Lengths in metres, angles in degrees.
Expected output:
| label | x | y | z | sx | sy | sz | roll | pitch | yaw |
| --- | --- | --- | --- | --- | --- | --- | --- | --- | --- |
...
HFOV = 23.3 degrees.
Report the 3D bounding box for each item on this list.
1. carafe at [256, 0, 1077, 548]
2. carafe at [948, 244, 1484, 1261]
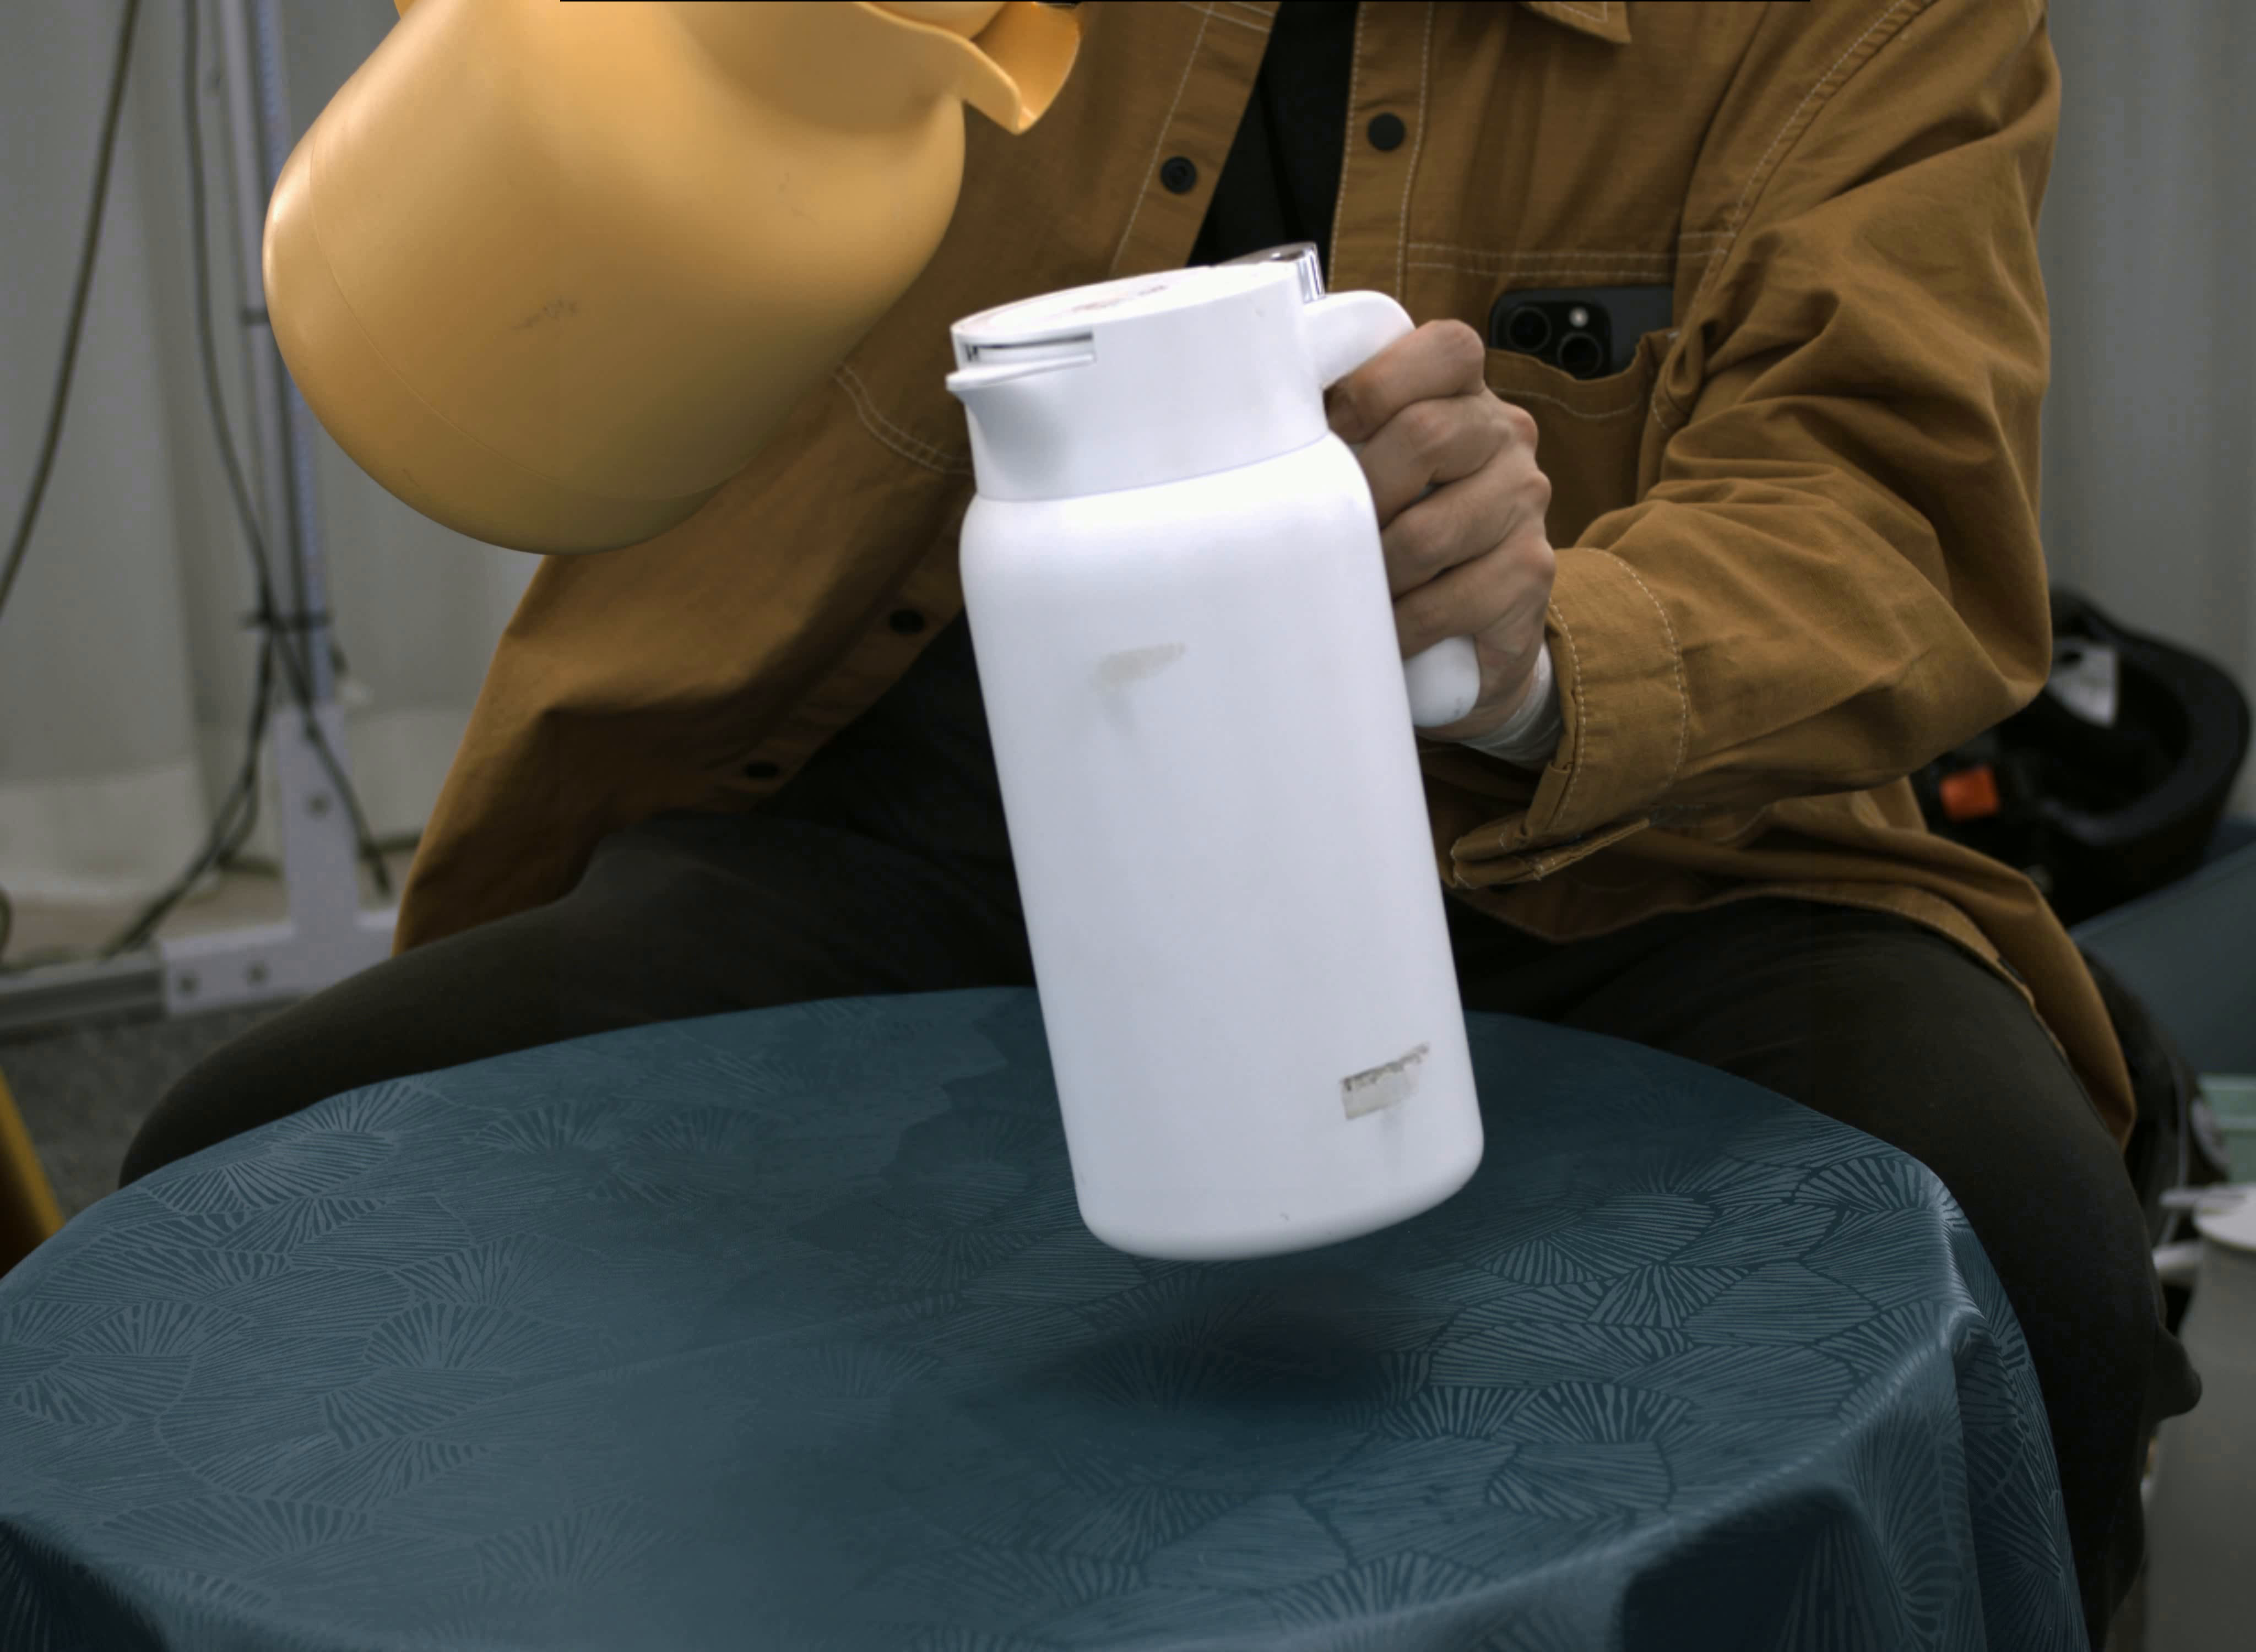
| label | x | y | z | sx | sy | sz | roll | pitch | yaw |
| --- | --- | --- | --- | --- | --- | --- | --- | --- | --- |
| carafe | -0.141 | -0.220 | 1.586 | 0.259 | 0.203 | 0.164 | -39 | -3 | 38 |
| carafe | 0.033 | -0.025 | 1.544 | 0.124 | 0.268 | 0.172 | -3 | 12 | 45 |
